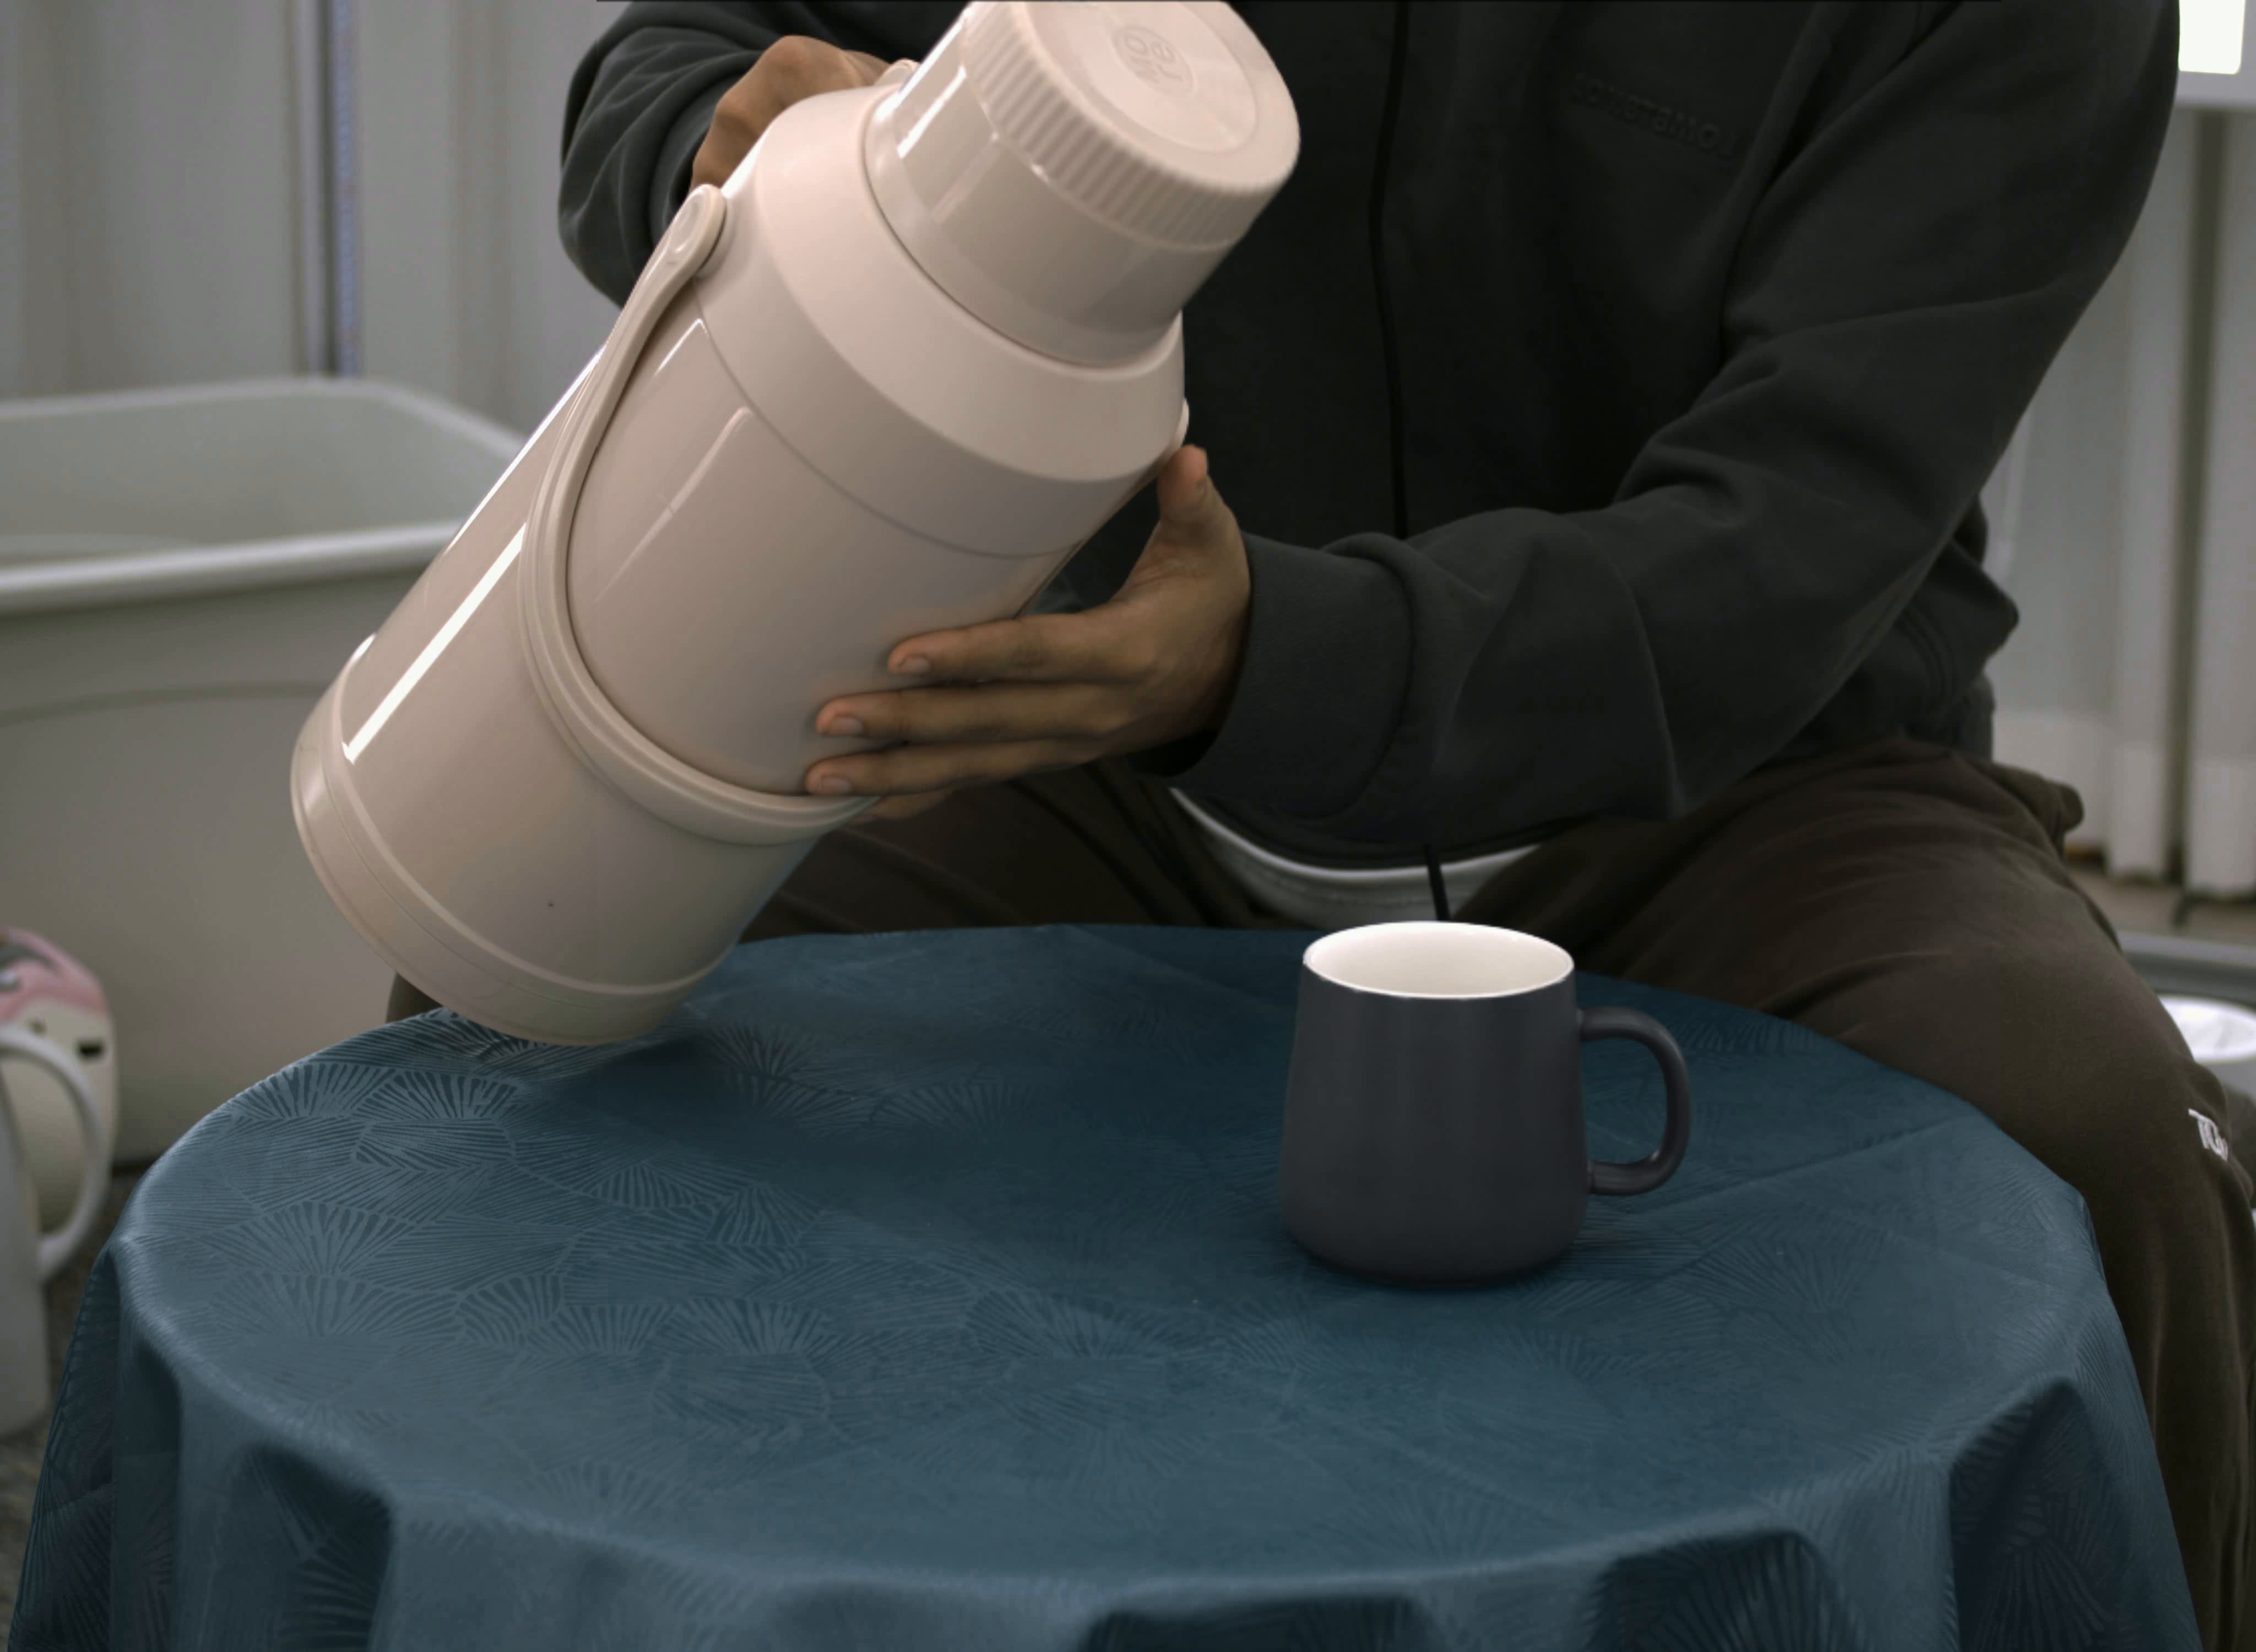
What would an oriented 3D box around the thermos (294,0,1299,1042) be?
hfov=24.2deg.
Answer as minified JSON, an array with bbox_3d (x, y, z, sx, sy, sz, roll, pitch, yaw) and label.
[{"bbox_3d":[-0.102,-0.119,1.668,0.177,0.407,0.205,20,41,-27],"label":"thermos"}]

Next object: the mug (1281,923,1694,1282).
[{"bbox_3d":[0.107,0.082,1.570,0.123,0.090,0.093,1,16,2],"label":"mug"}]
